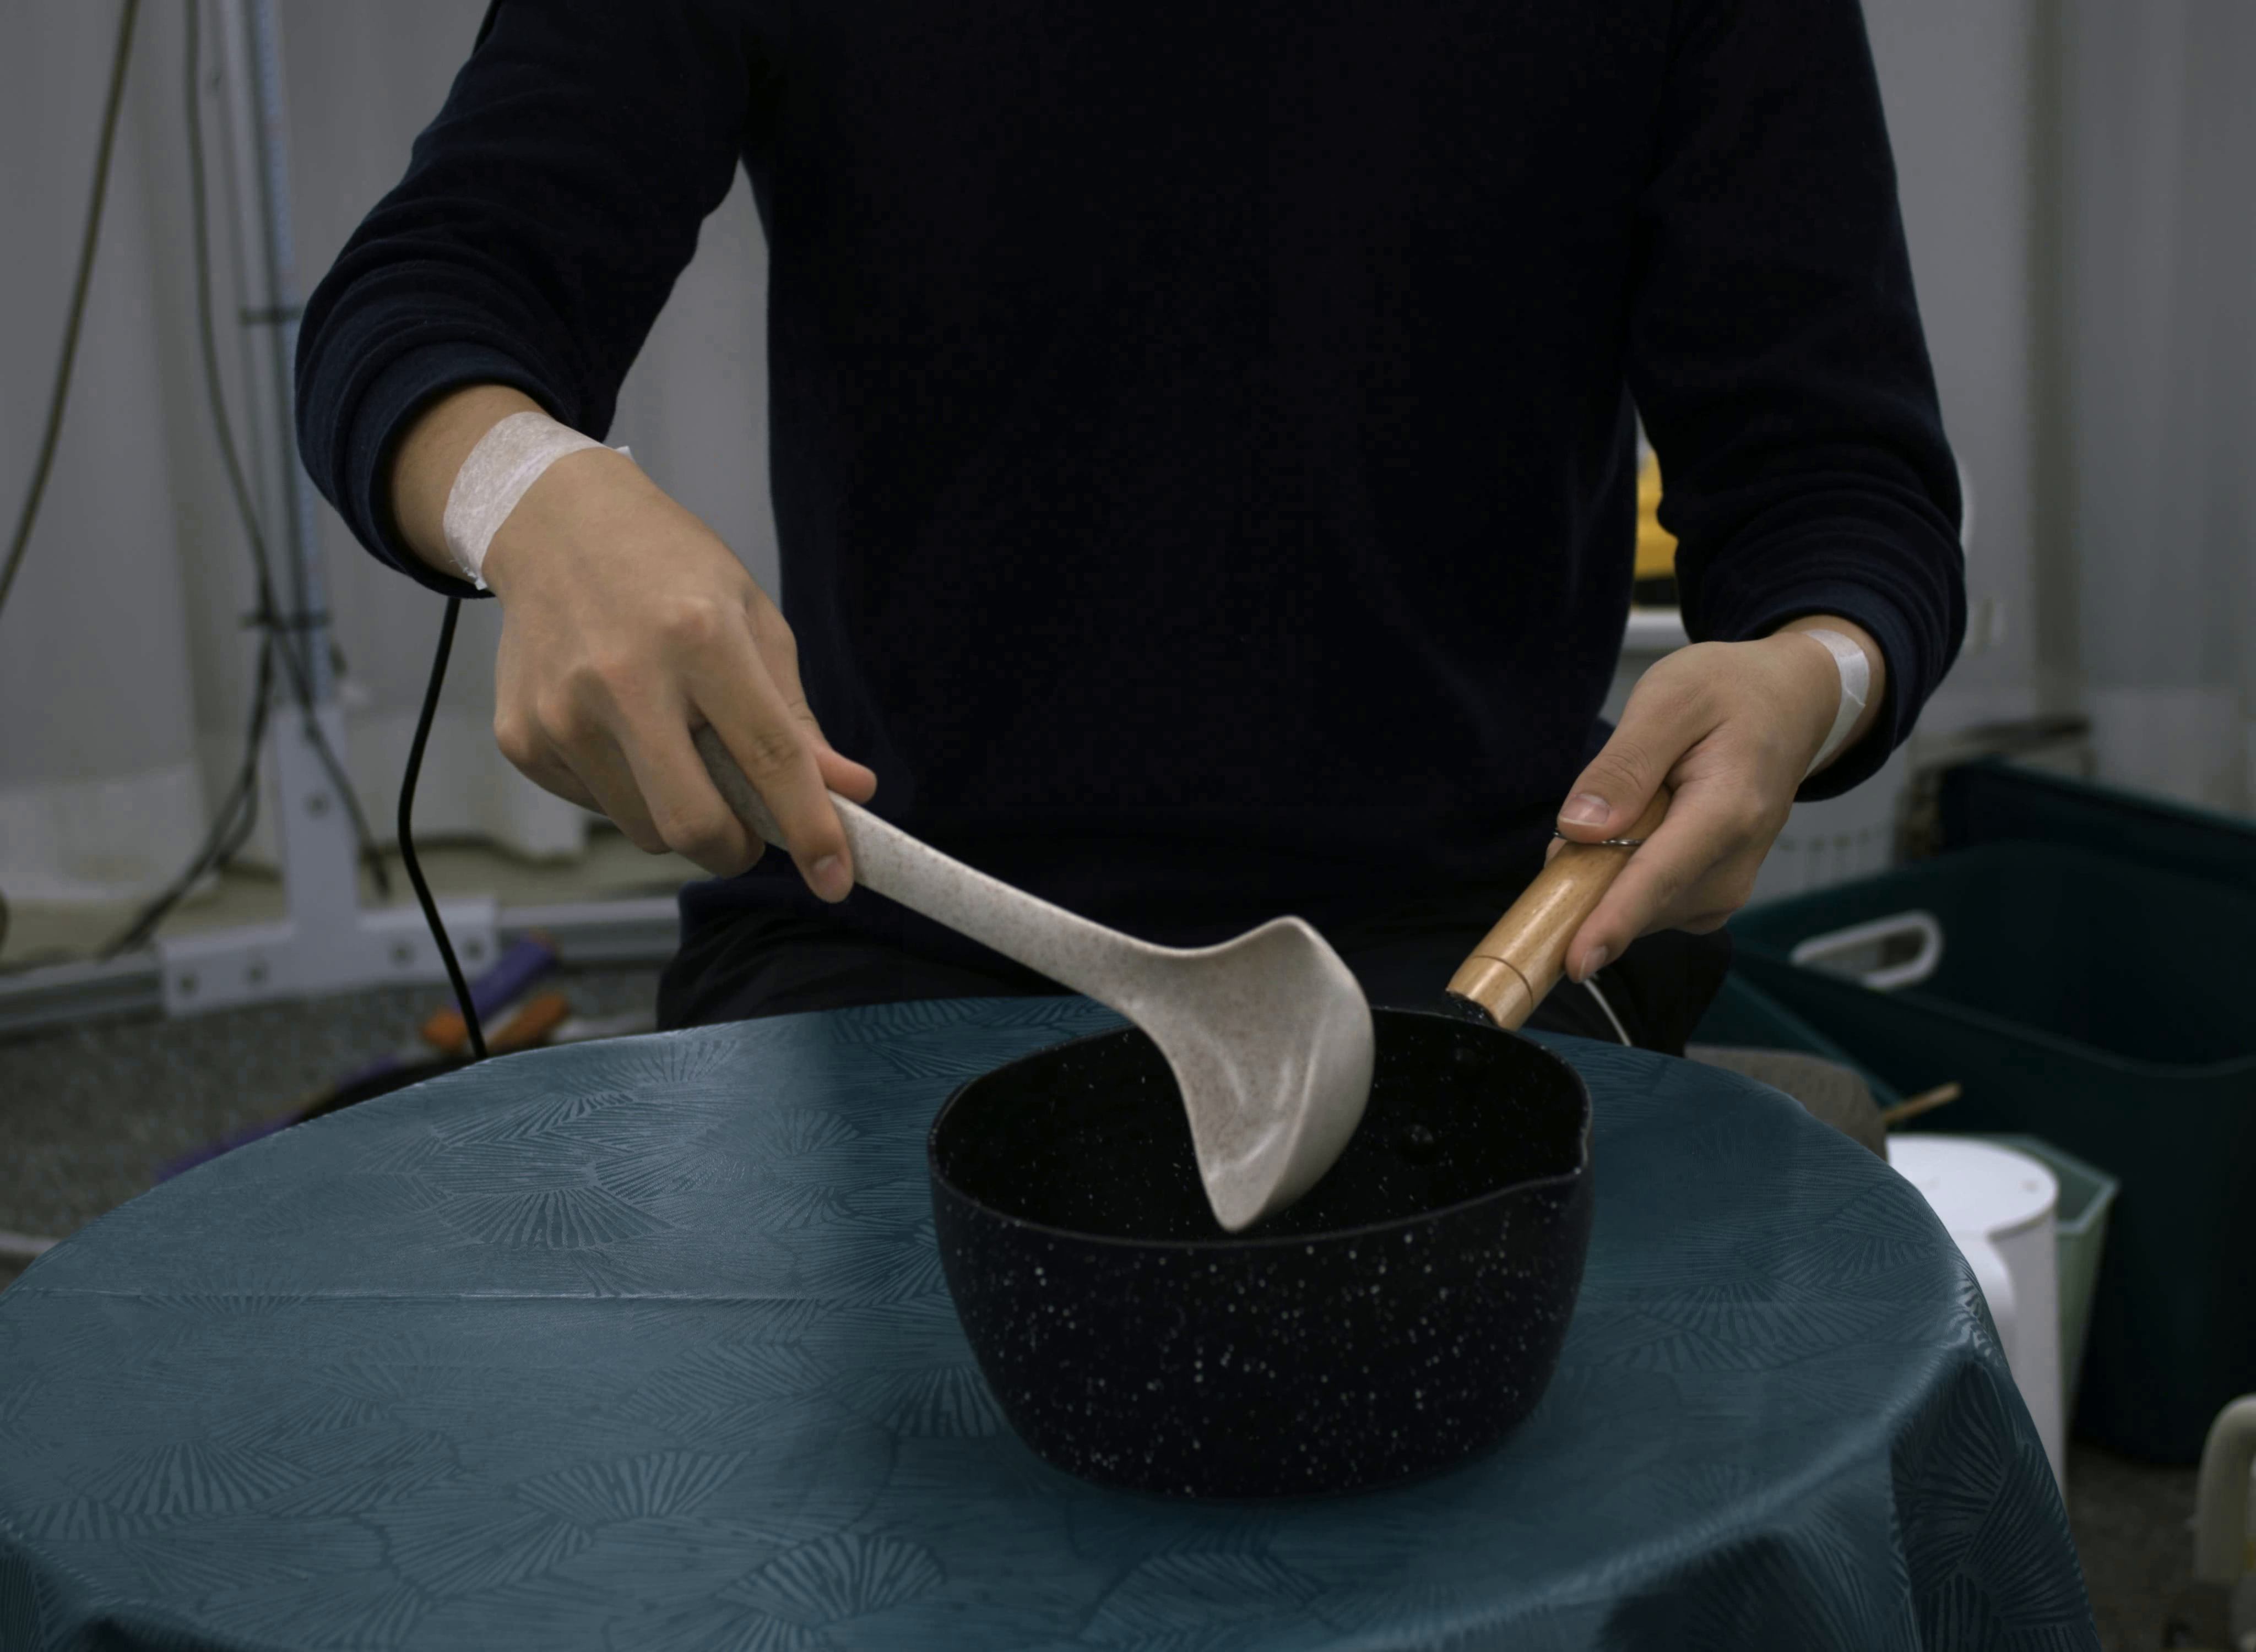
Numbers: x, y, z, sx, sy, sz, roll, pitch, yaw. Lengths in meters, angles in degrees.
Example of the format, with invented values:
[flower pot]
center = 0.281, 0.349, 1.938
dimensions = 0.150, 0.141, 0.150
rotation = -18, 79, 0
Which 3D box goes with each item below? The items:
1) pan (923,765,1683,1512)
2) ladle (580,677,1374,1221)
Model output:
[pan]
center = 0.077, 0.085, 1.577
dimensions = 0.208, 0.107, 0.344
rotation = 5, 21, 30
[ladle]
center = -0.056, 0.026, 1.523
dimensions = 0.276, 0.088, 0.069
rotation = 25, 29, 20
